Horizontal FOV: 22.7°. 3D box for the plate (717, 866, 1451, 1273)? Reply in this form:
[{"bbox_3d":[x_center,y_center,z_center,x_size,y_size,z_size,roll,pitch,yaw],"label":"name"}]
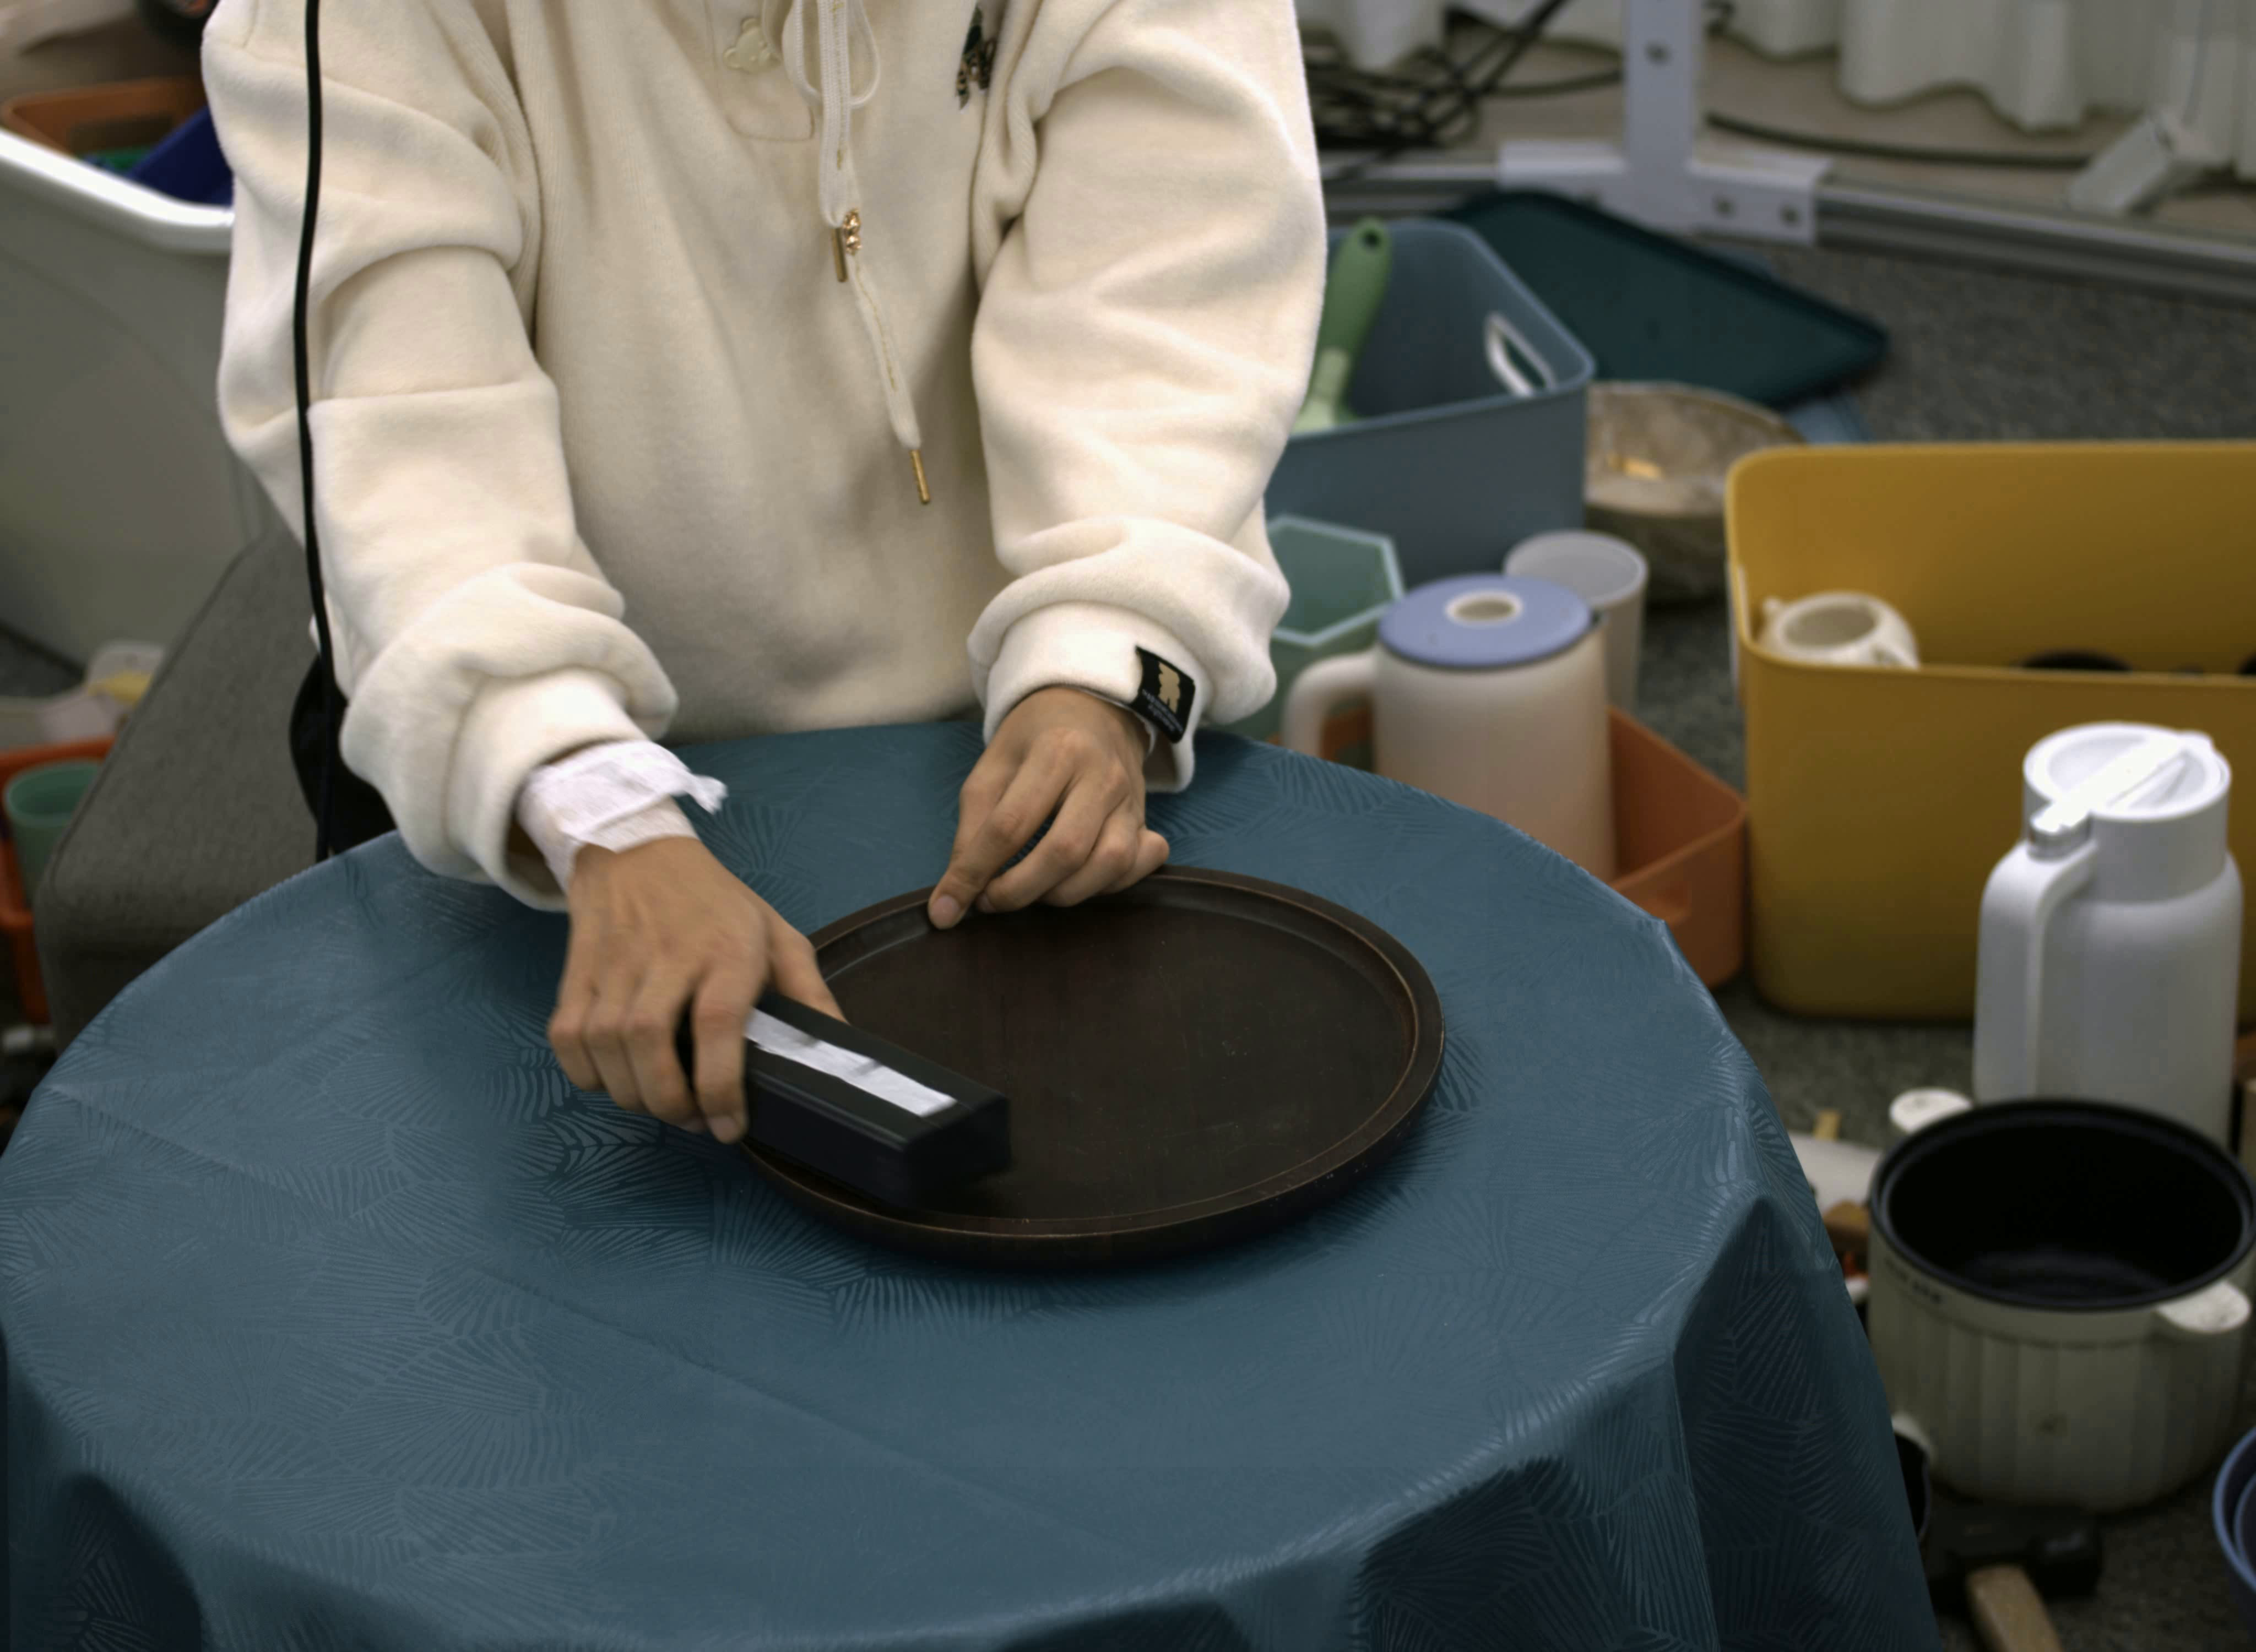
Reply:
[{"bbox_3d":[-0.016,0.081,1.916,0.253,0.029,0.259,-2,29,1],"label":"plate"}]

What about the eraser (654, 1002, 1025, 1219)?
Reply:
[{"bbox_3d":[-0.096,0.093,1.855,0.125,0.030,0.054,20,26,38],"label":"eraser"}]
